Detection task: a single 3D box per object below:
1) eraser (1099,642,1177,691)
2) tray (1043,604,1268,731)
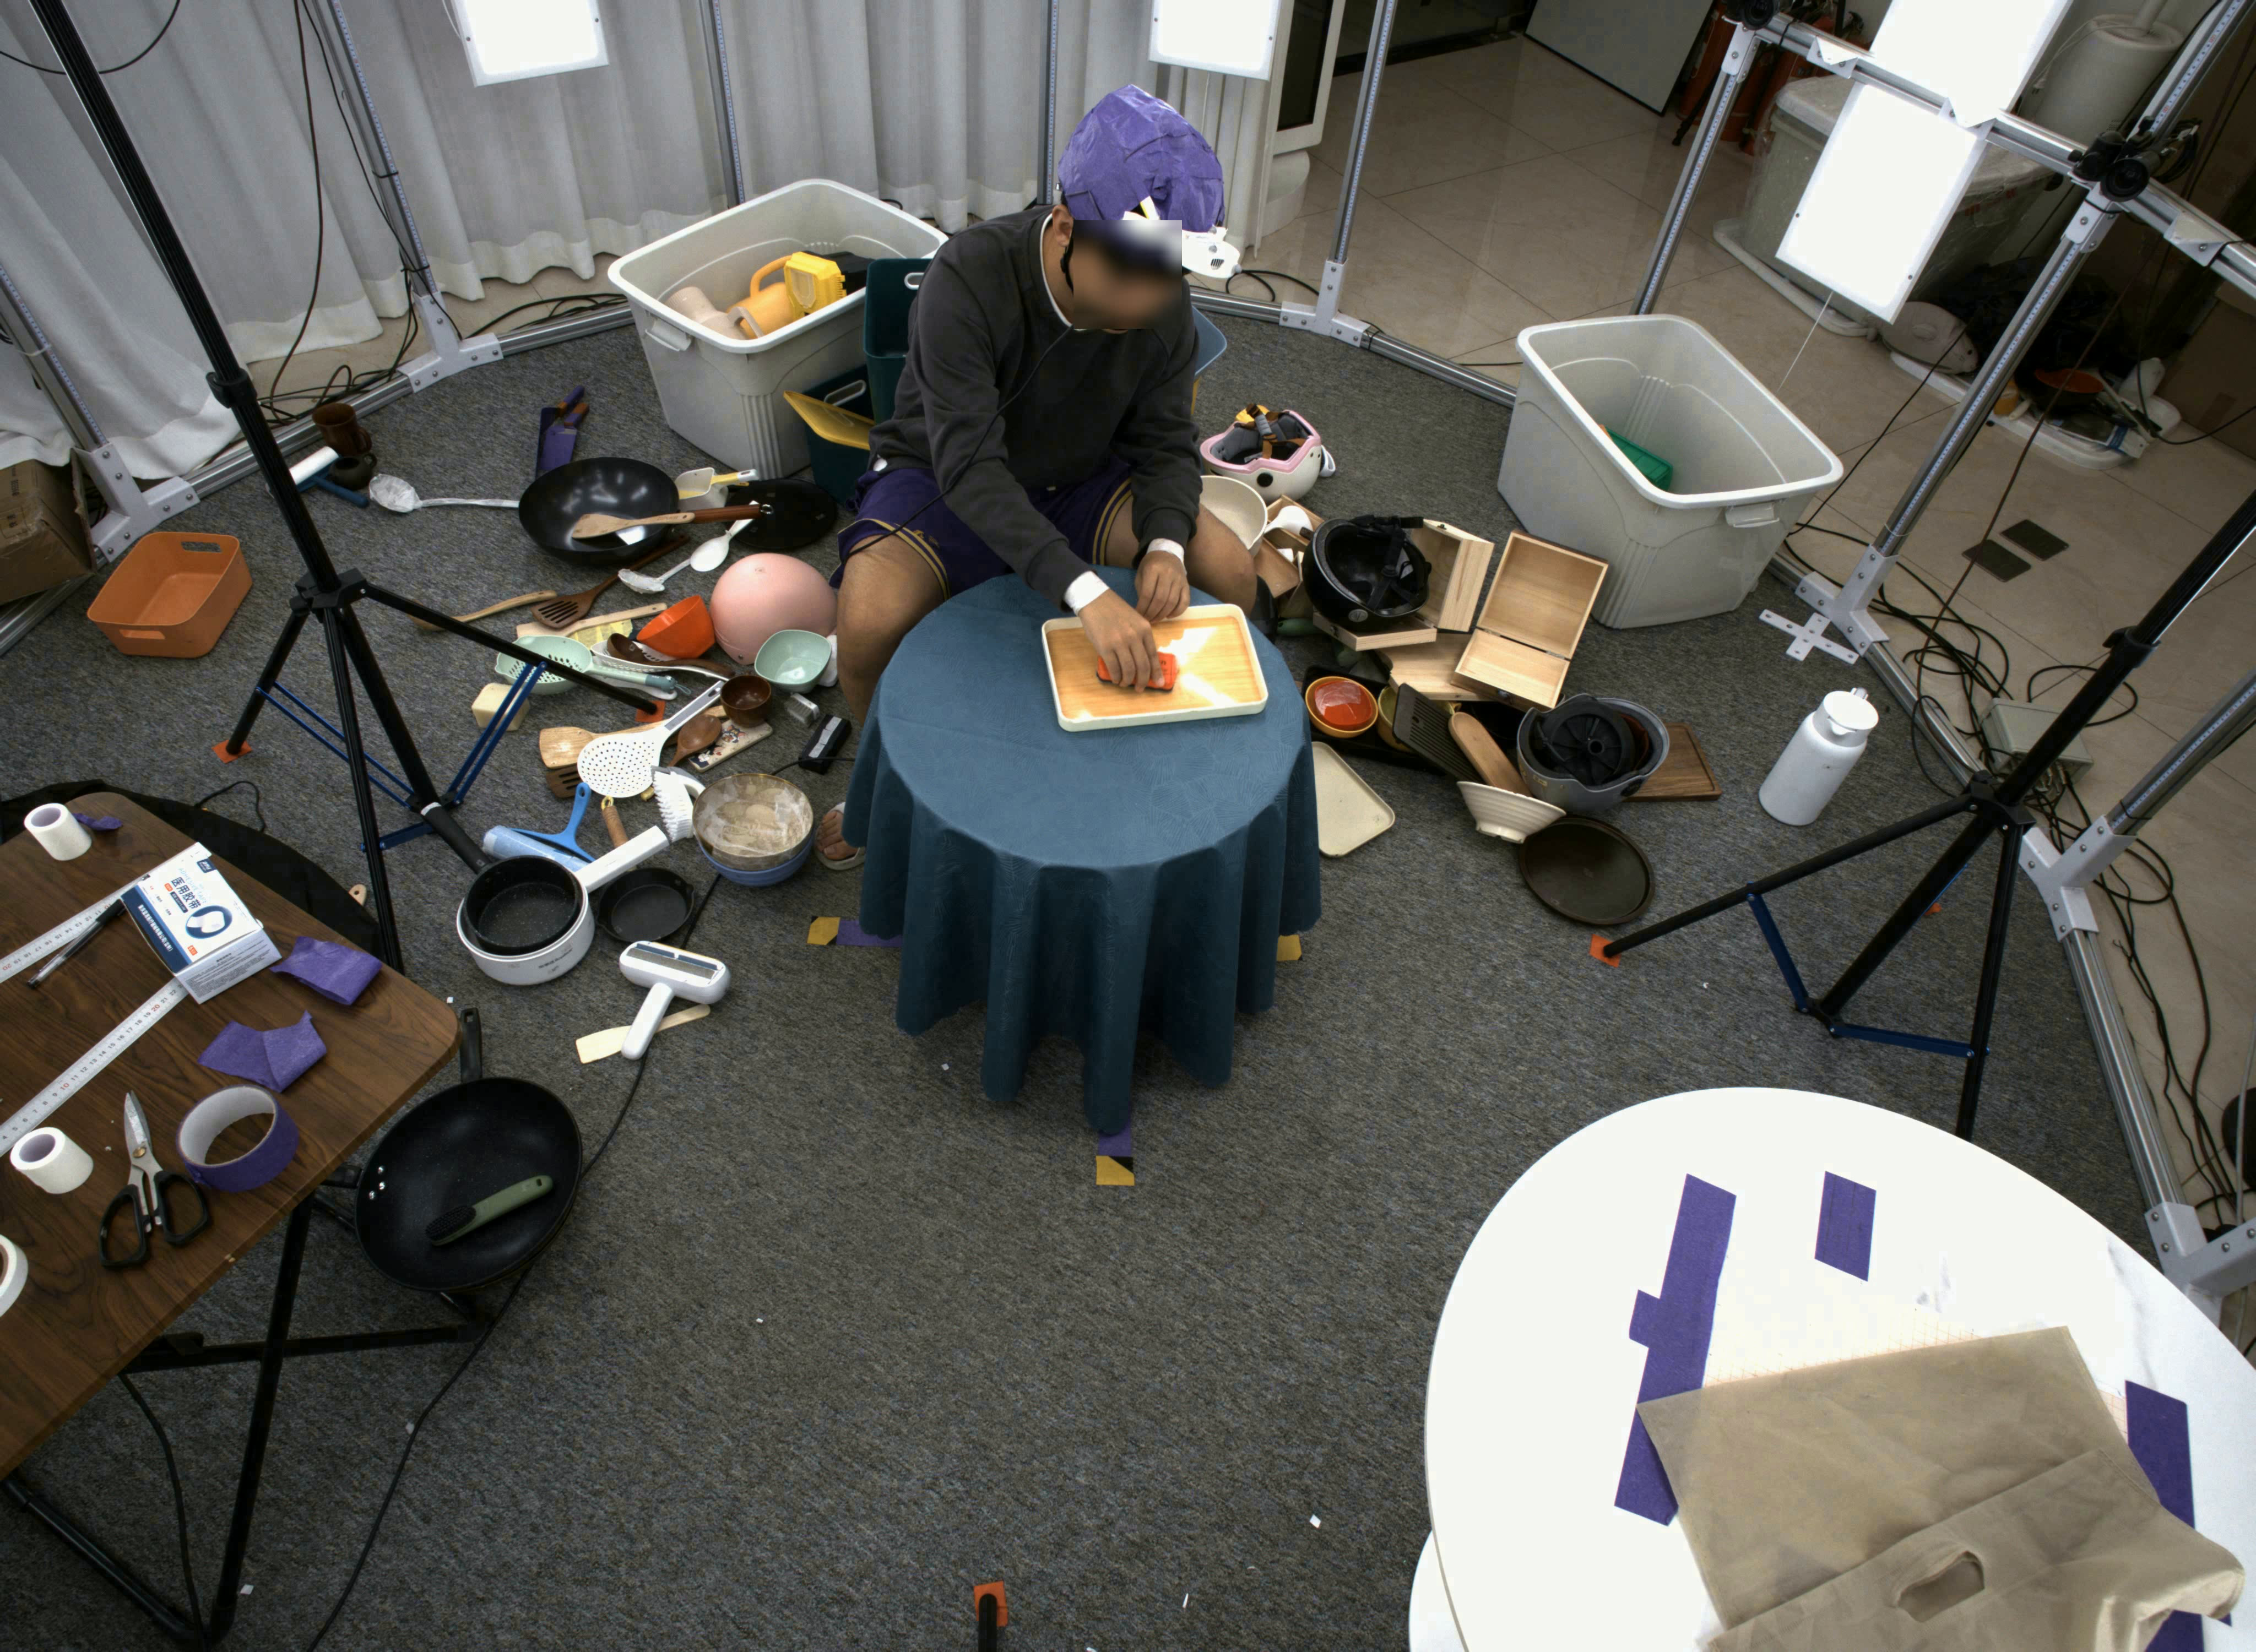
[{"bbox_3d":[0.014,-0.227,1.824,0.108,0.022,0.060,8,55,-3],"label":"eraser"},{"bbox_3d":[0.037,-0.230,1.838,0.300,0.027,0.196,-6,56,-9],"label":"tray"}]
